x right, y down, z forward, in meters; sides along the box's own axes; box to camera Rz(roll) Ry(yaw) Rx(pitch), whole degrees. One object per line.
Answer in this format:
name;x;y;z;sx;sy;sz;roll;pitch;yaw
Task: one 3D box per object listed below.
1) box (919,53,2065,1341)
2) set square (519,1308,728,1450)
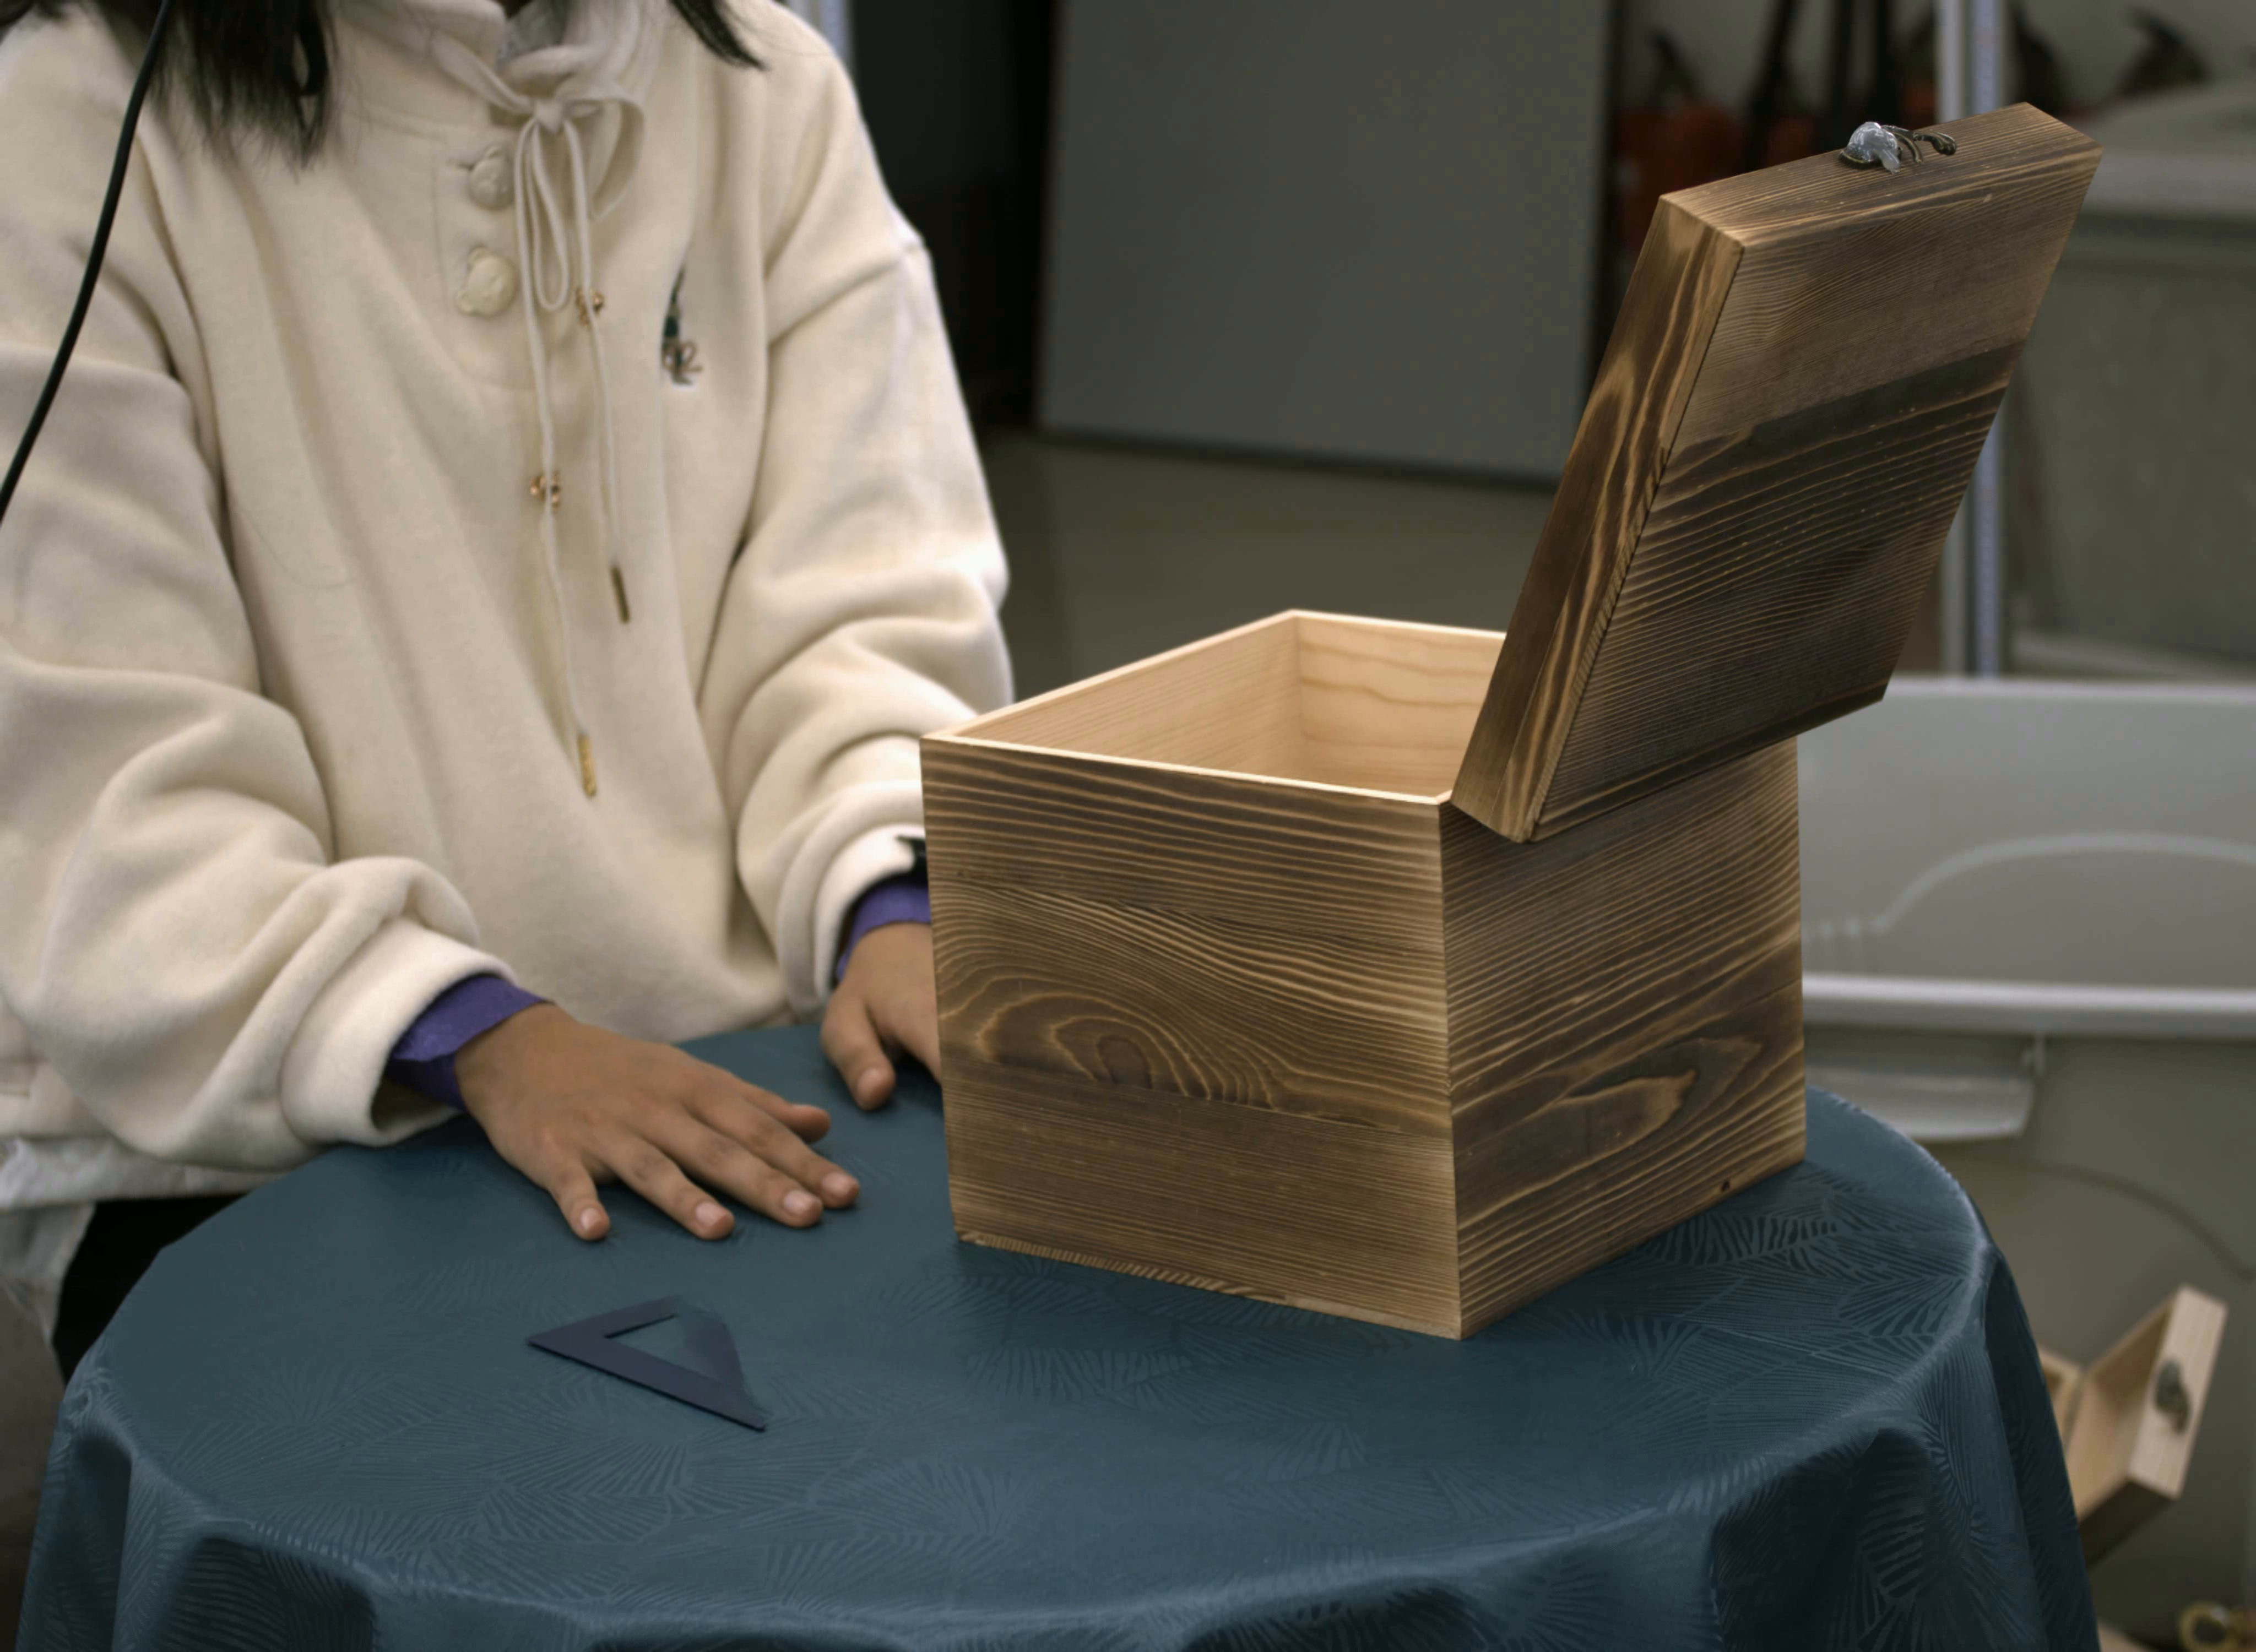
box;0.113;-0.048;1.671;0.324;0.379;0.205;8;17;38
set square;-0.152;0.166;1.624;0.060;0.006;0.132;-4;13;-6
